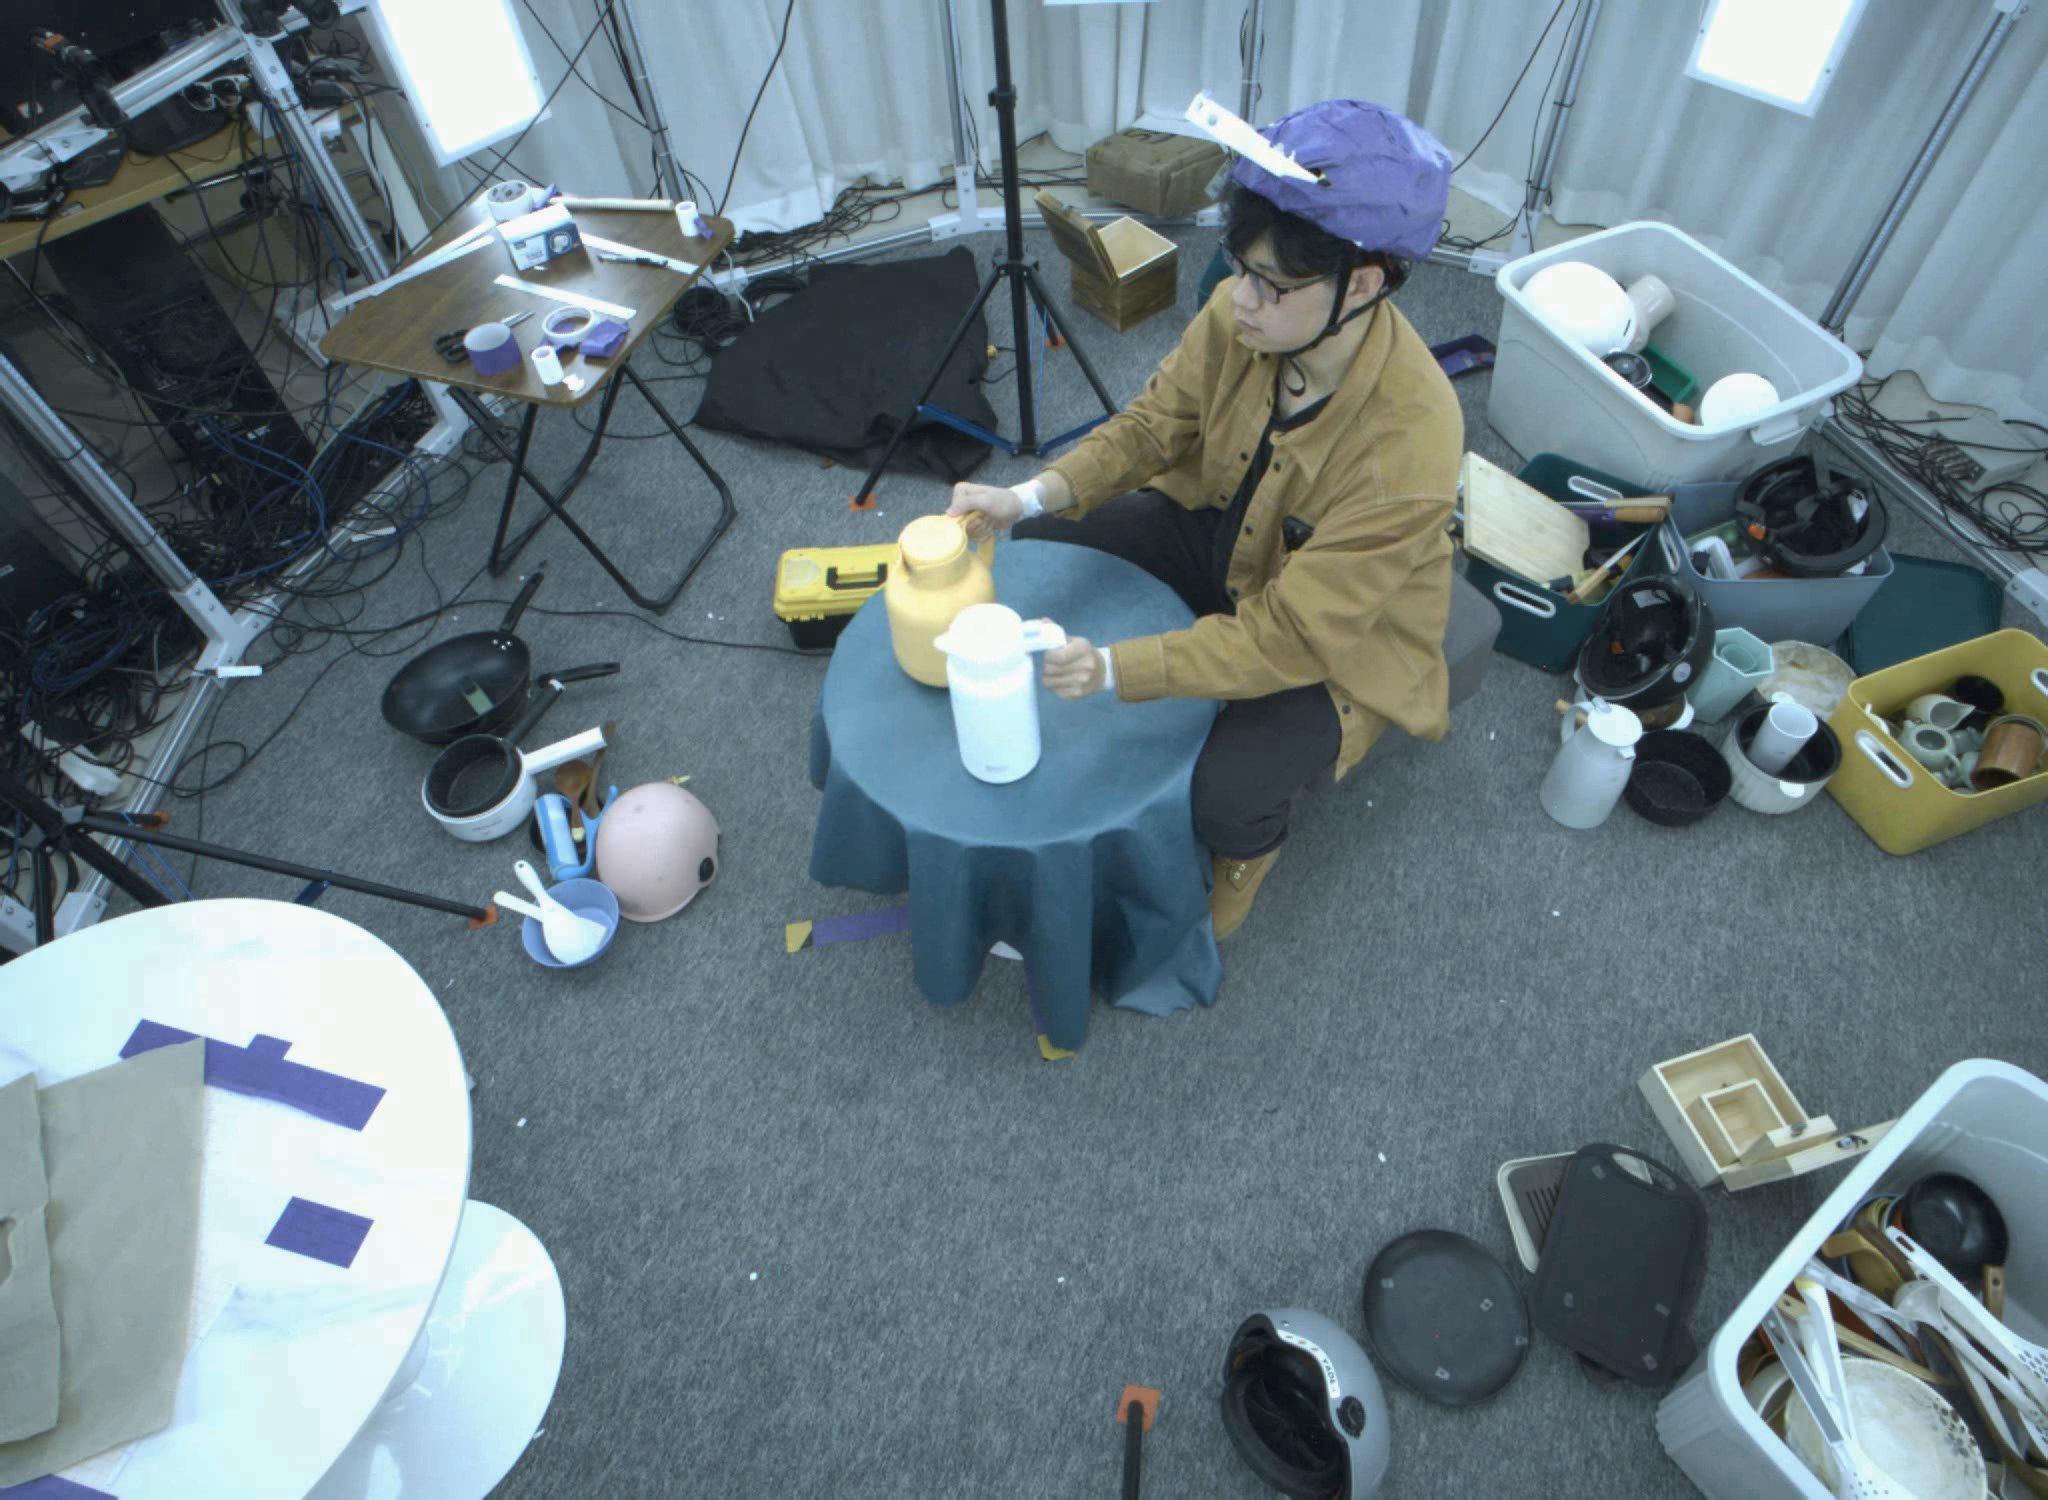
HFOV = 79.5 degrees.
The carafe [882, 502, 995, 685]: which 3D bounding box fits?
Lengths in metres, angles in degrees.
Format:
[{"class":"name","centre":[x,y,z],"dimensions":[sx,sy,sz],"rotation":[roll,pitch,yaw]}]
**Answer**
[{"class":"carafe","centre":[-0.112,-0.236,1.793],"dimensions":[0.161,0.263,0.203],"rotation":[31,63,20]}]

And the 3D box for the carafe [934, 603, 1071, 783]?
[{"class":"carafe","centre":[-0.024,-0.077,1.674],"dimensions":[0.173,0.272,0.122],"rotation":[-9,52,-3]}]
